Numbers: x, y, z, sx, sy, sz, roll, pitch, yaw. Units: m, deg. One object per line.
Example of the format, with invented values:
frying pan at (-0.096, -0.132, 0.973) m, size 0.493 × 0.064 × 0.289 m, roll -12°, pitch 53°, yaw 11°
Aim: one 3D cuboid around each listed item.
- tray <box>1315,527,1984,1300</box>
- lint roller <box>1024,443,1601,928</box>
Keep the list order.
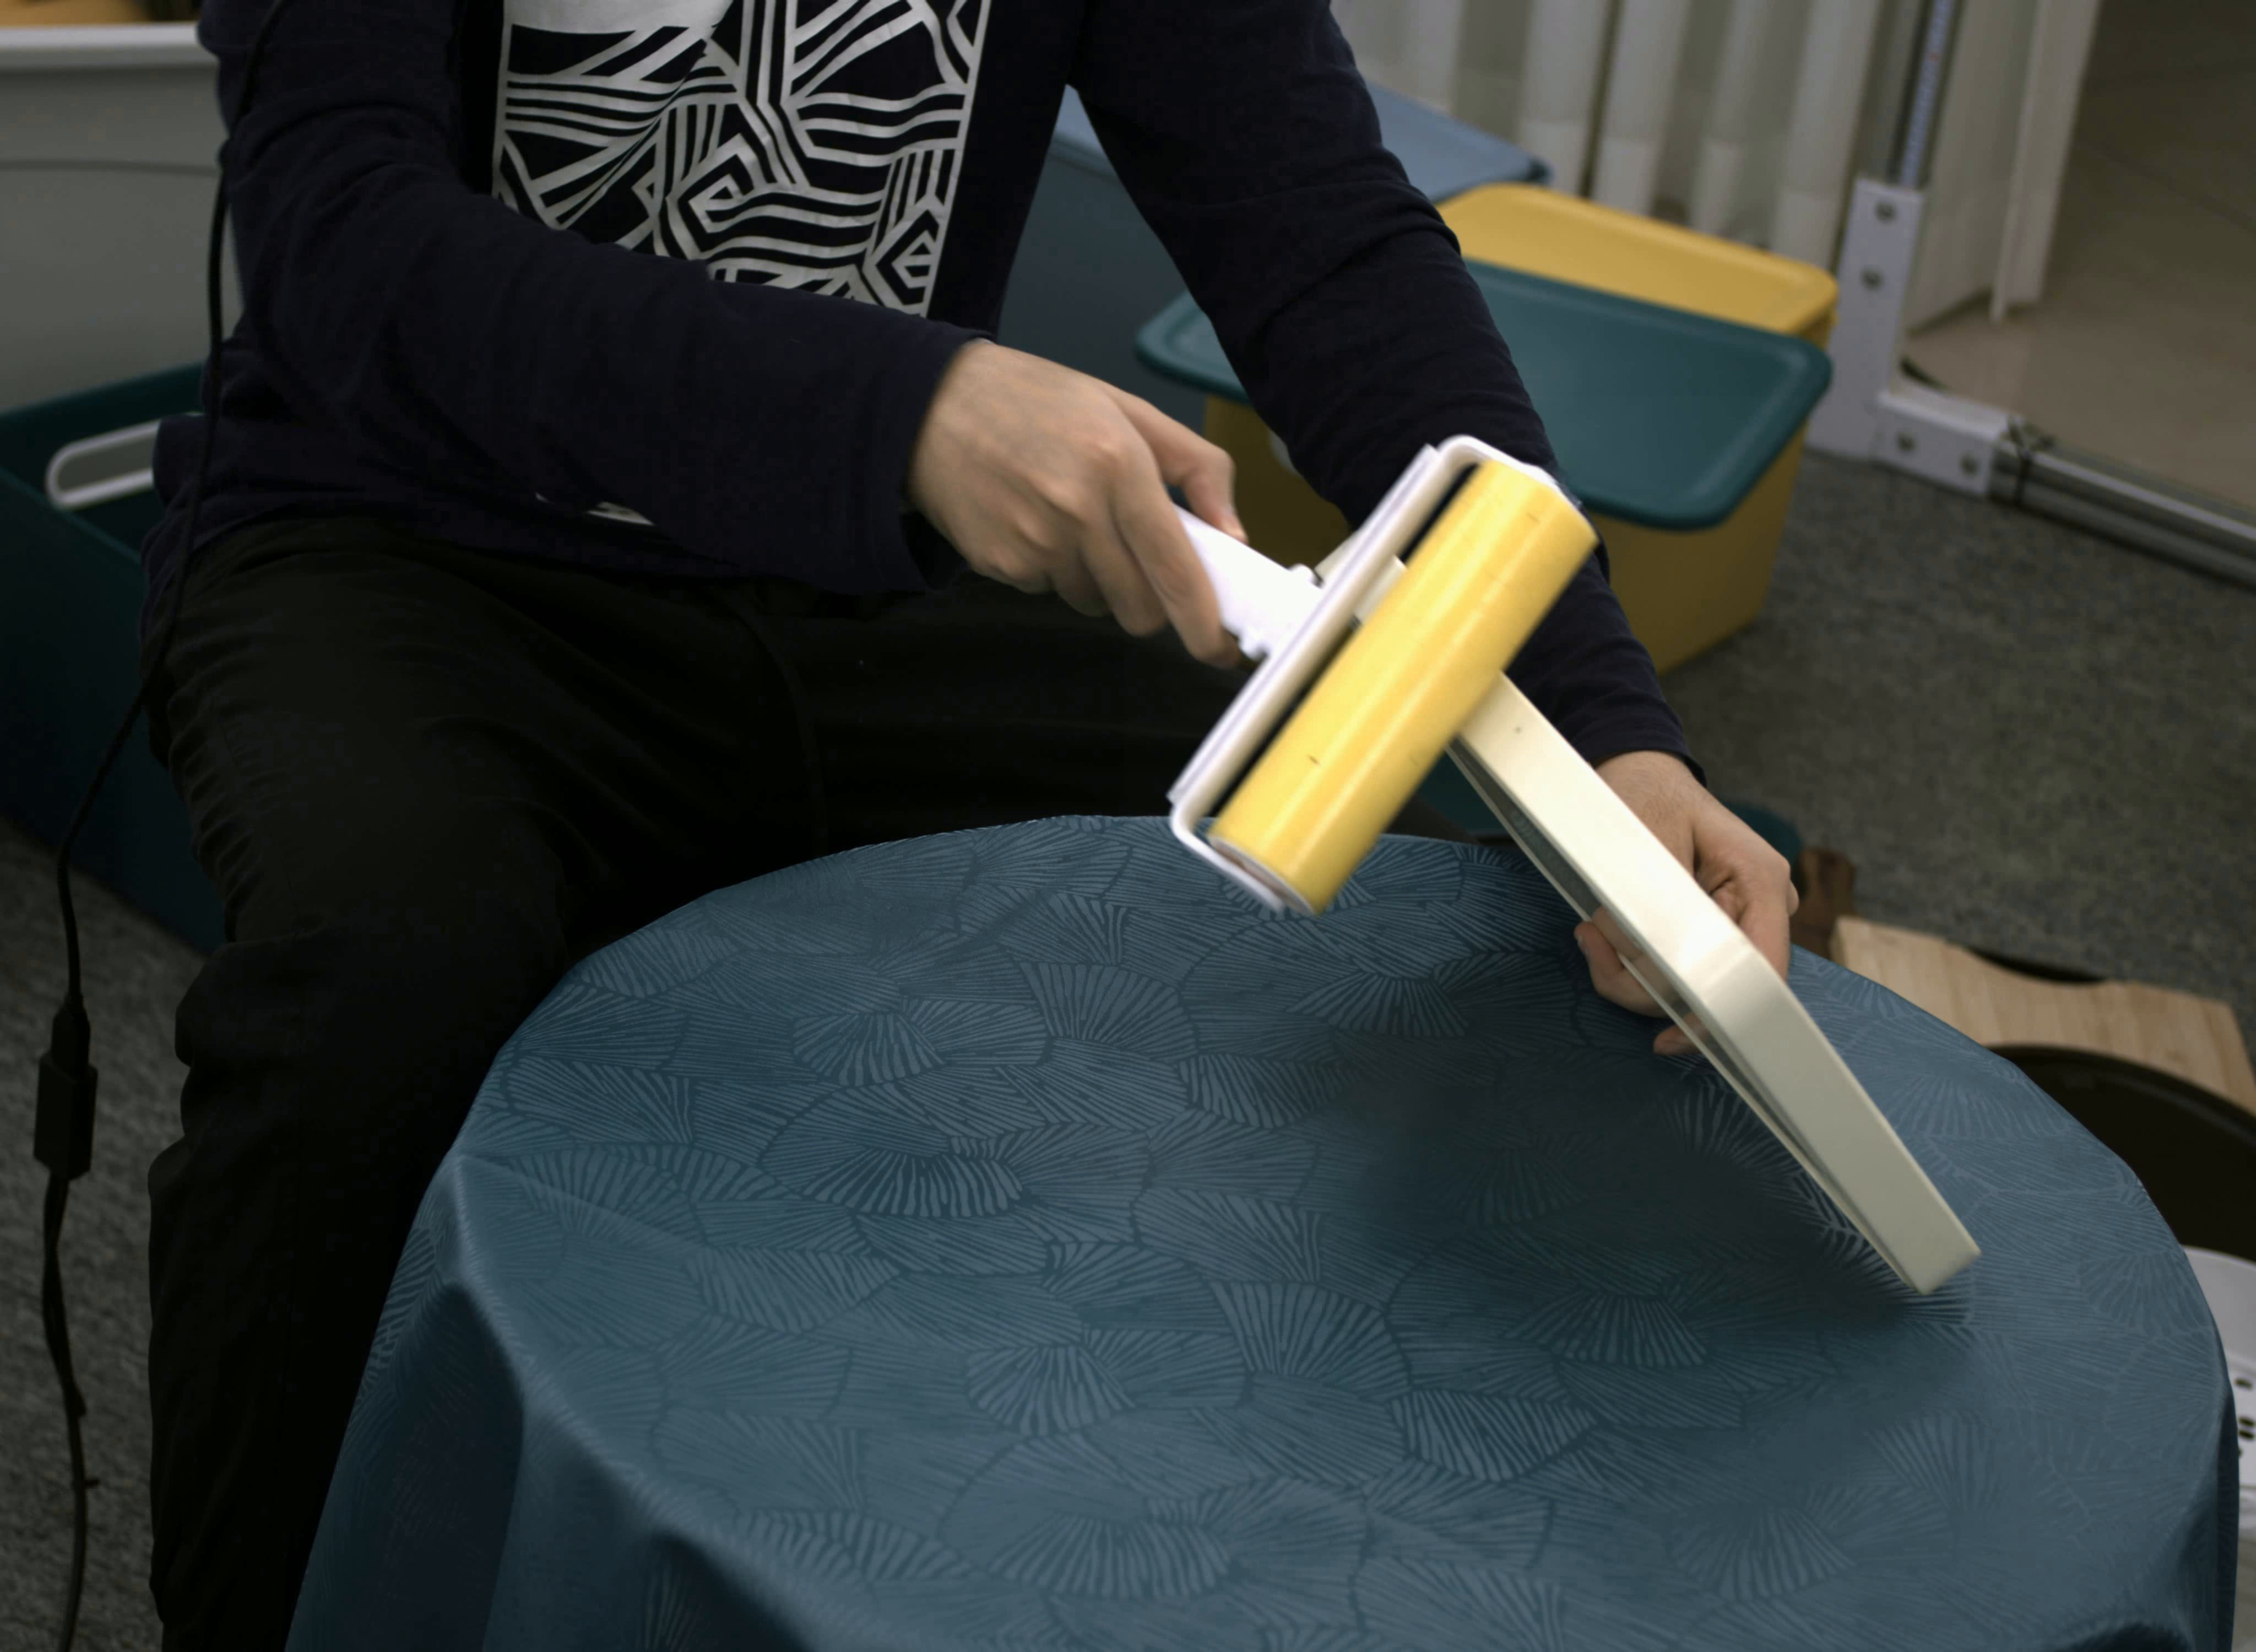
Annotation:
tray at (0.176, 0.027, 1.837) m, size 0.027 × 0.190 × 0.303 m, roll -39°, pitch 41°, yaw 1°
lint roller at (0.038, -0.079, 1.815) m, size 0.193 × 0.174 × 0.051 m, roll 32°, pitch -9°, yaw 22°
